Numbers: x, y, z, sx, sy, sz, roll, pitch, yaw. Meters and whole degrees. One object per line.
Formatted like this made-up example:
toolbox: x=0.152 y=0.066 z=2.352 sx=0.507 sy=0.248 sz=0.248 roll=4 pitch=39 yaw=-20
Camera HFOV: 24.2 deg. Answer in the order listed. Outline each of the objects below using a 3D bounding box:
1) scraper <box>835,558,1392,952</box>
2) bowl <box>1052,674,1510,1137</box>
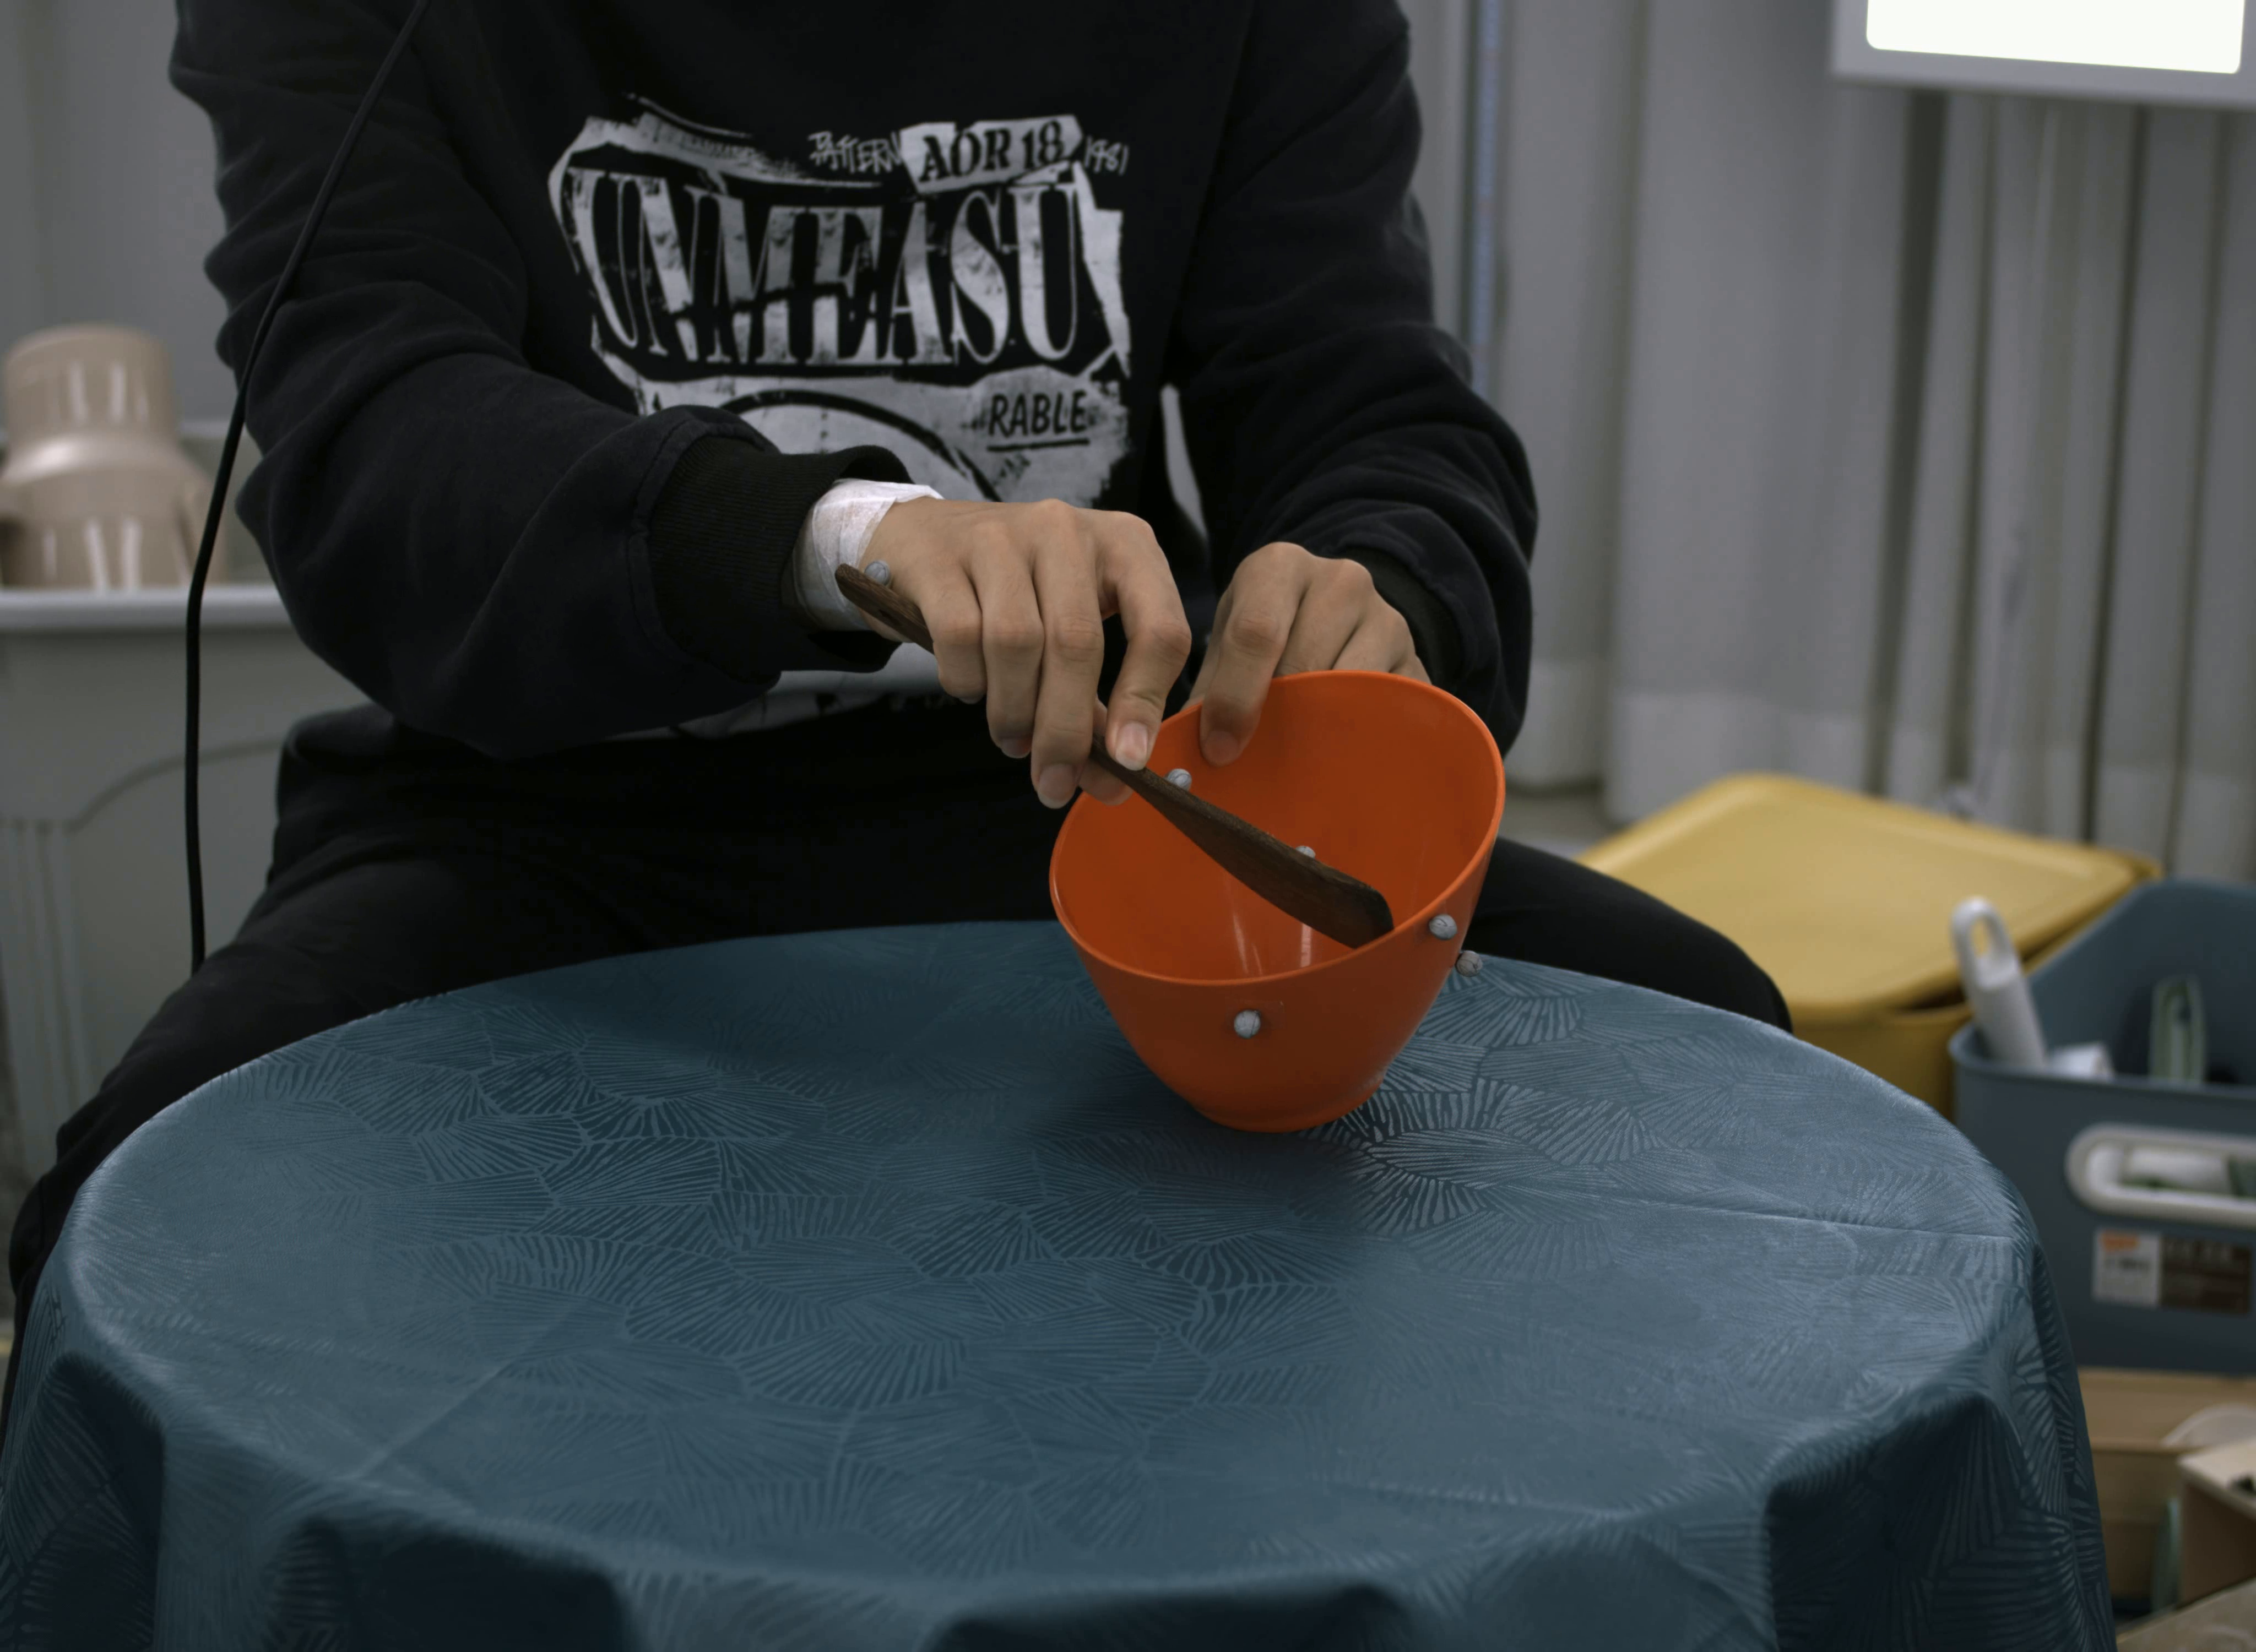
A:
scraper: x=-0.006 y=-0.023 z=1.630 sx=0.210 sy=0.011 sz=0.076 roll=34 pitch=-12 yaw=12
bowl: x=0.053 y=0.034 z=1.682 sx=0.147 sy=0.106 sz=0.147 roll=-5 pitch=34 yaw=4
